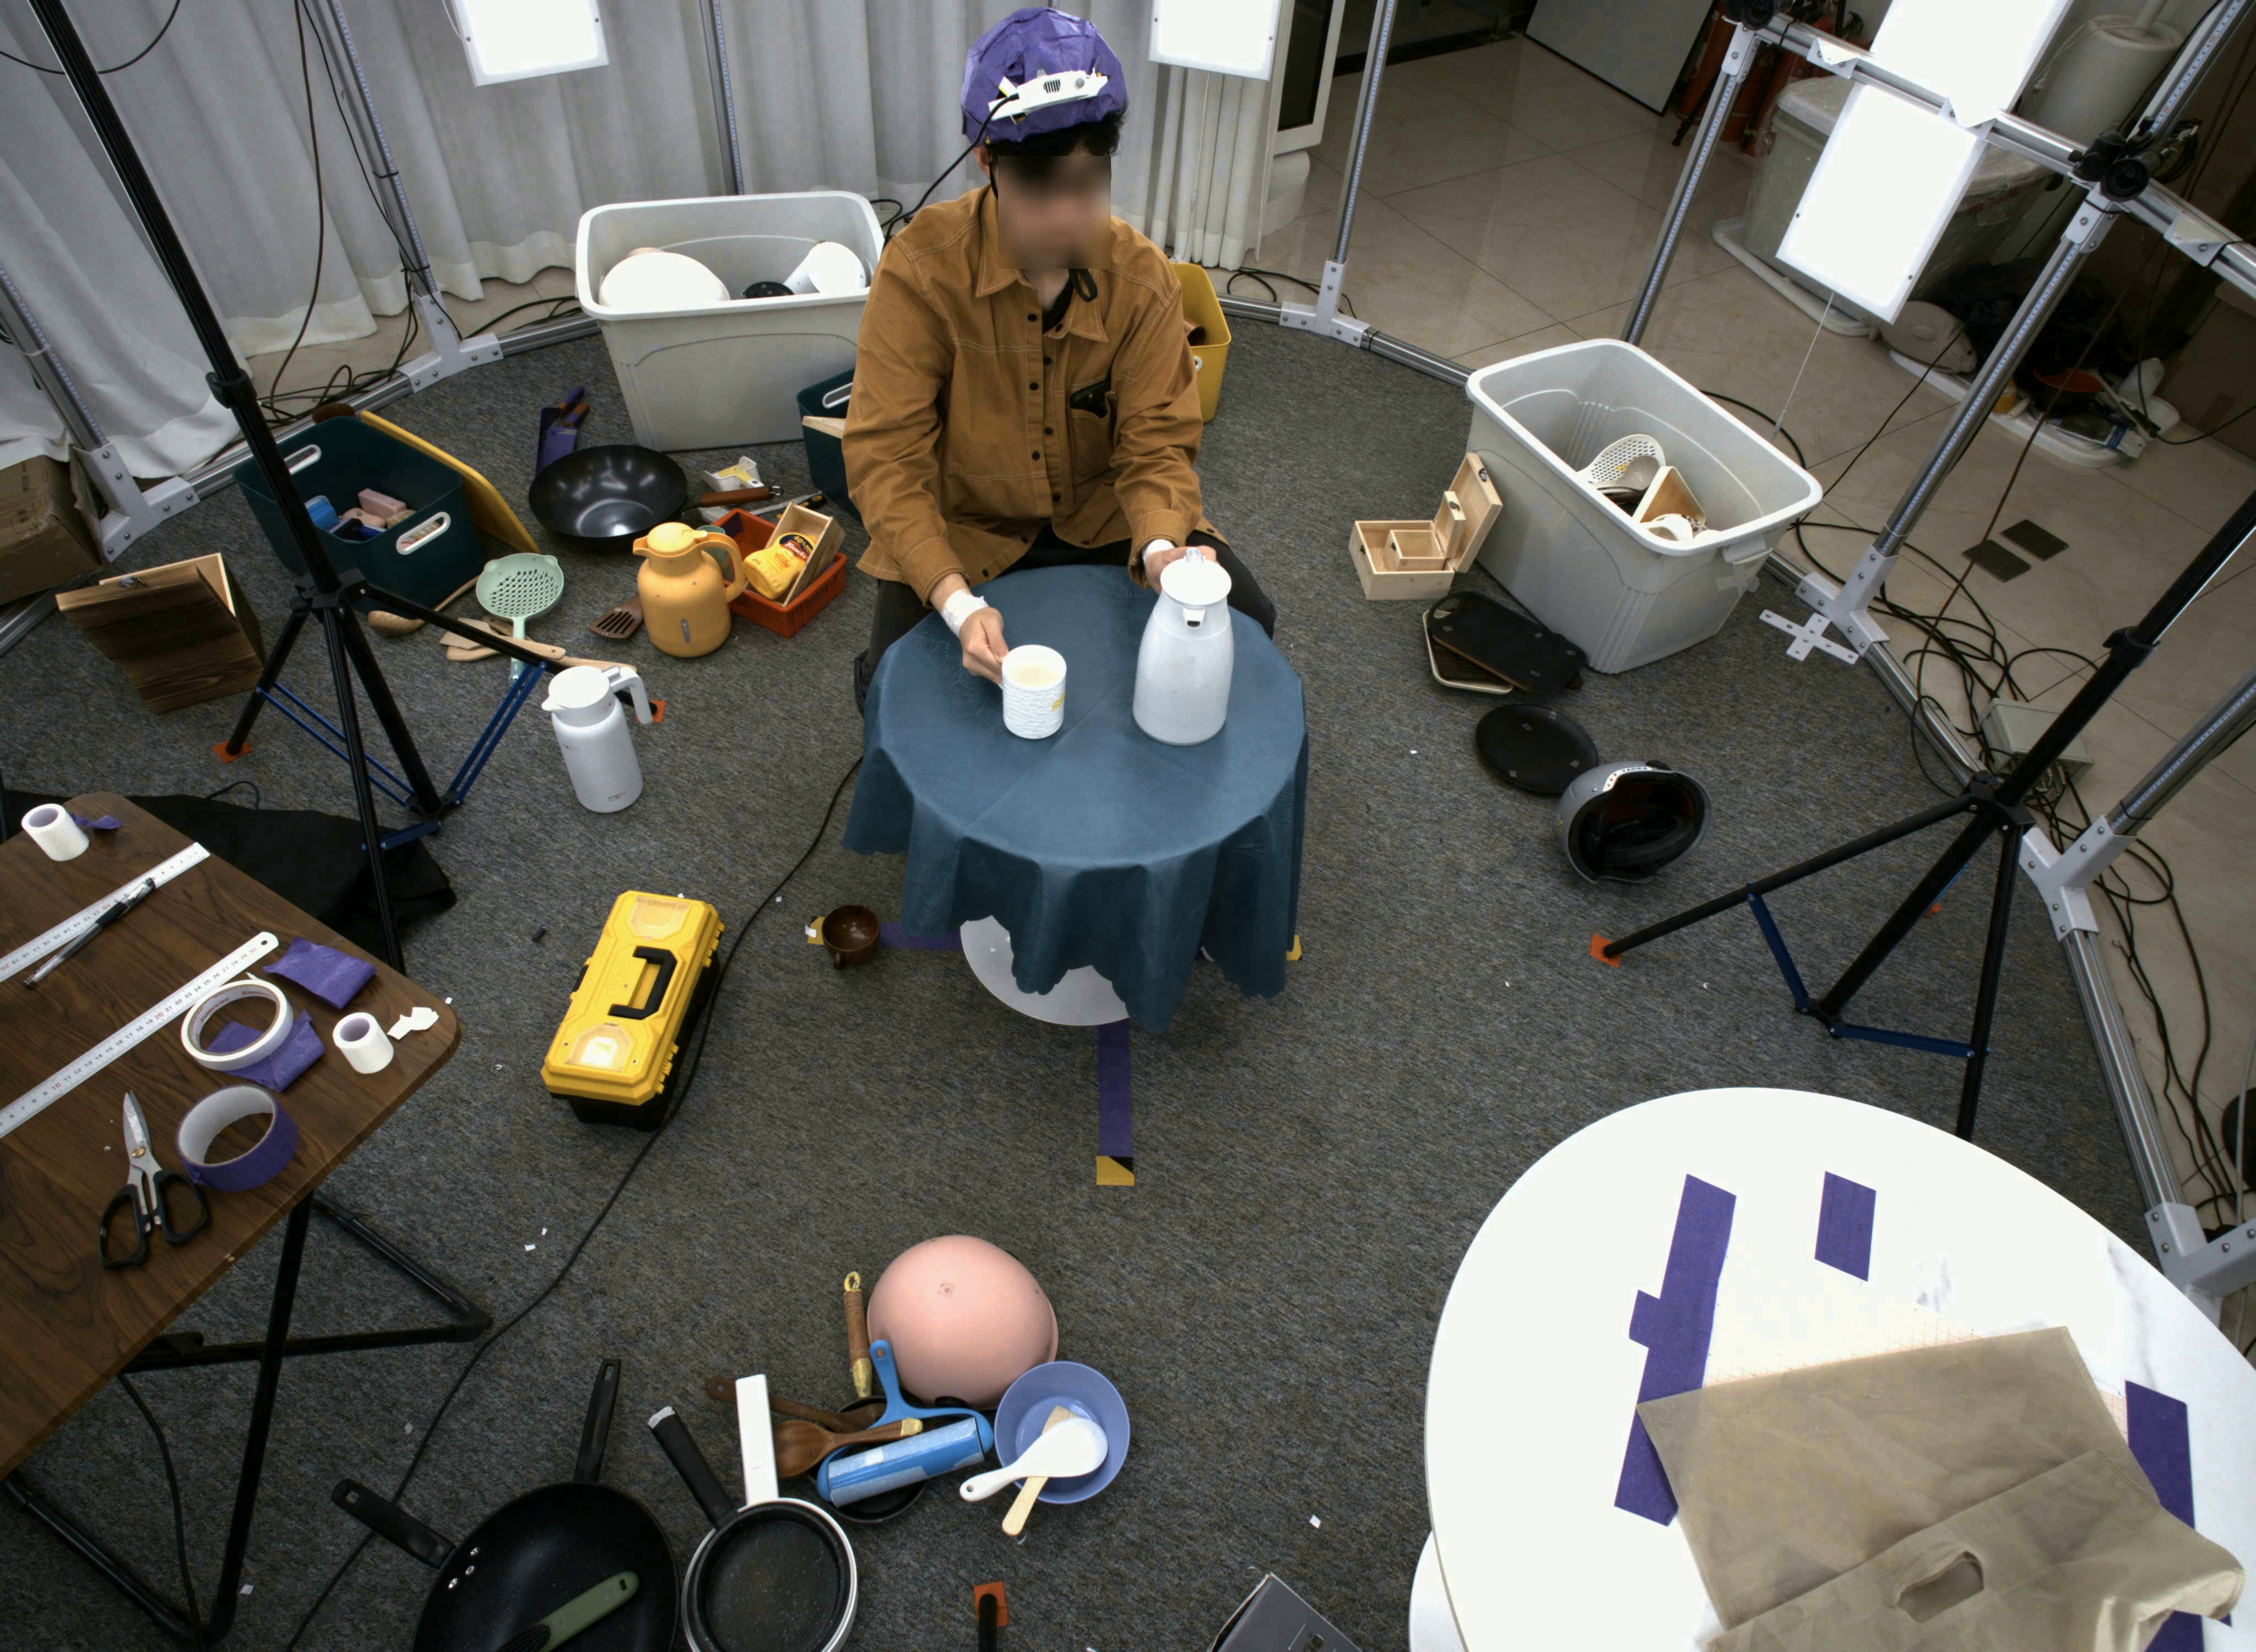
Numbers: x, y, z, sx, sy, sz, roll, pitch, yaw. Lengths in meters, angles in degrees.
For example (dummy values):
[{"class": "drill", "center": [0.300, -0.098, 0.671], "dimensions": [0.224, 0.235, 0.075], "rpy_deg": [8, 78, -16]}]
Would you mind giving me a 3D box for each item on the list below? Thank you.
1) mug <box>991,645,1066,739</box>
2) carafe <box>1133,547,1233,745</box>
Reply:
[{"class": "mug", "center": [-0.141, -0.189, 1.759], "dimensions": [0.120, 0.099, 0.086], "rpy_deg": [34, 54, 24]}, {"class": "carafe", "center": [0.078, -0.255, 1.735], "dimensions": [0.132, 0.242, 0.172], "rpy_deg": [3, 49, -1]}]
